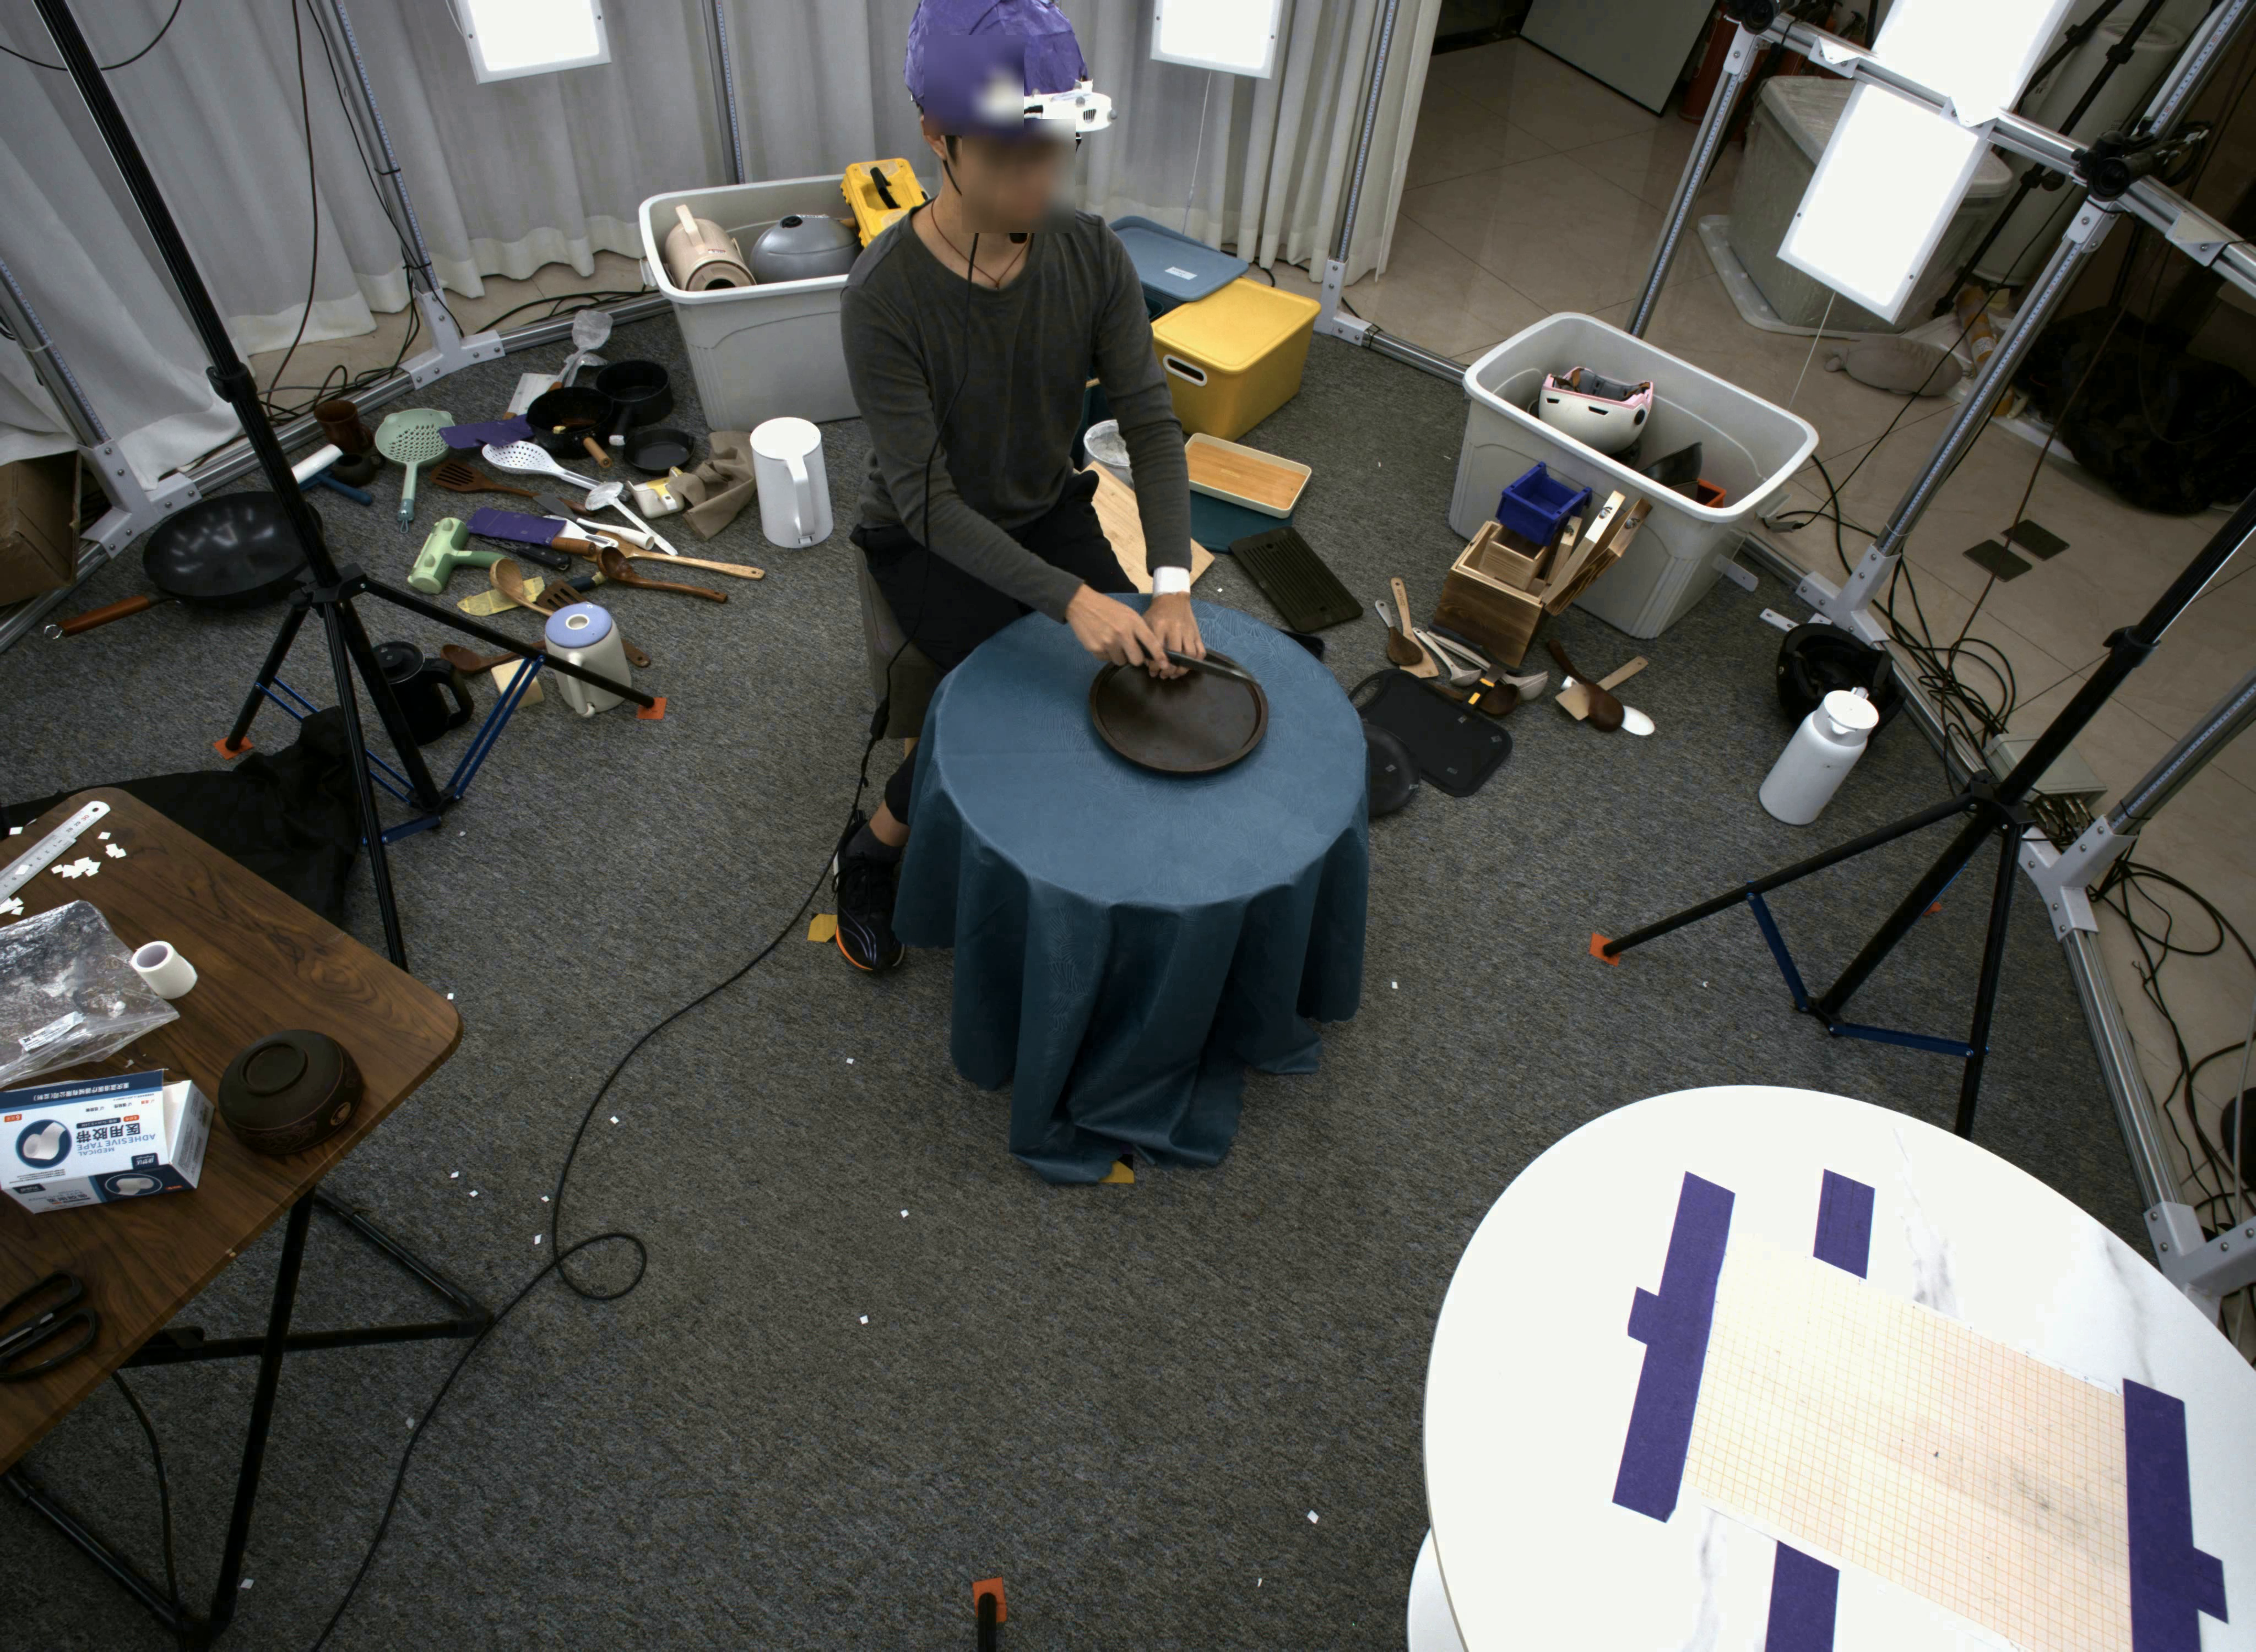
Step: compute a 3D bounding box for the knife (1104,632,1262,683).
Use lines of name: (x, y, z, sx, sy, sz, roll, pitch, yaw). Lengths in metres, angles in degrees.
knife: (0.073, -0.229, 1.746, 0.240, 0.024, 0.016, 19, 53, 22)

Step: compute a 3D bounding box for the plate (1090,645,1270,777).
plate: (0.072, -0.163, 1.799, 0.254, 0.028, 0.261, 2, 50, -3)
